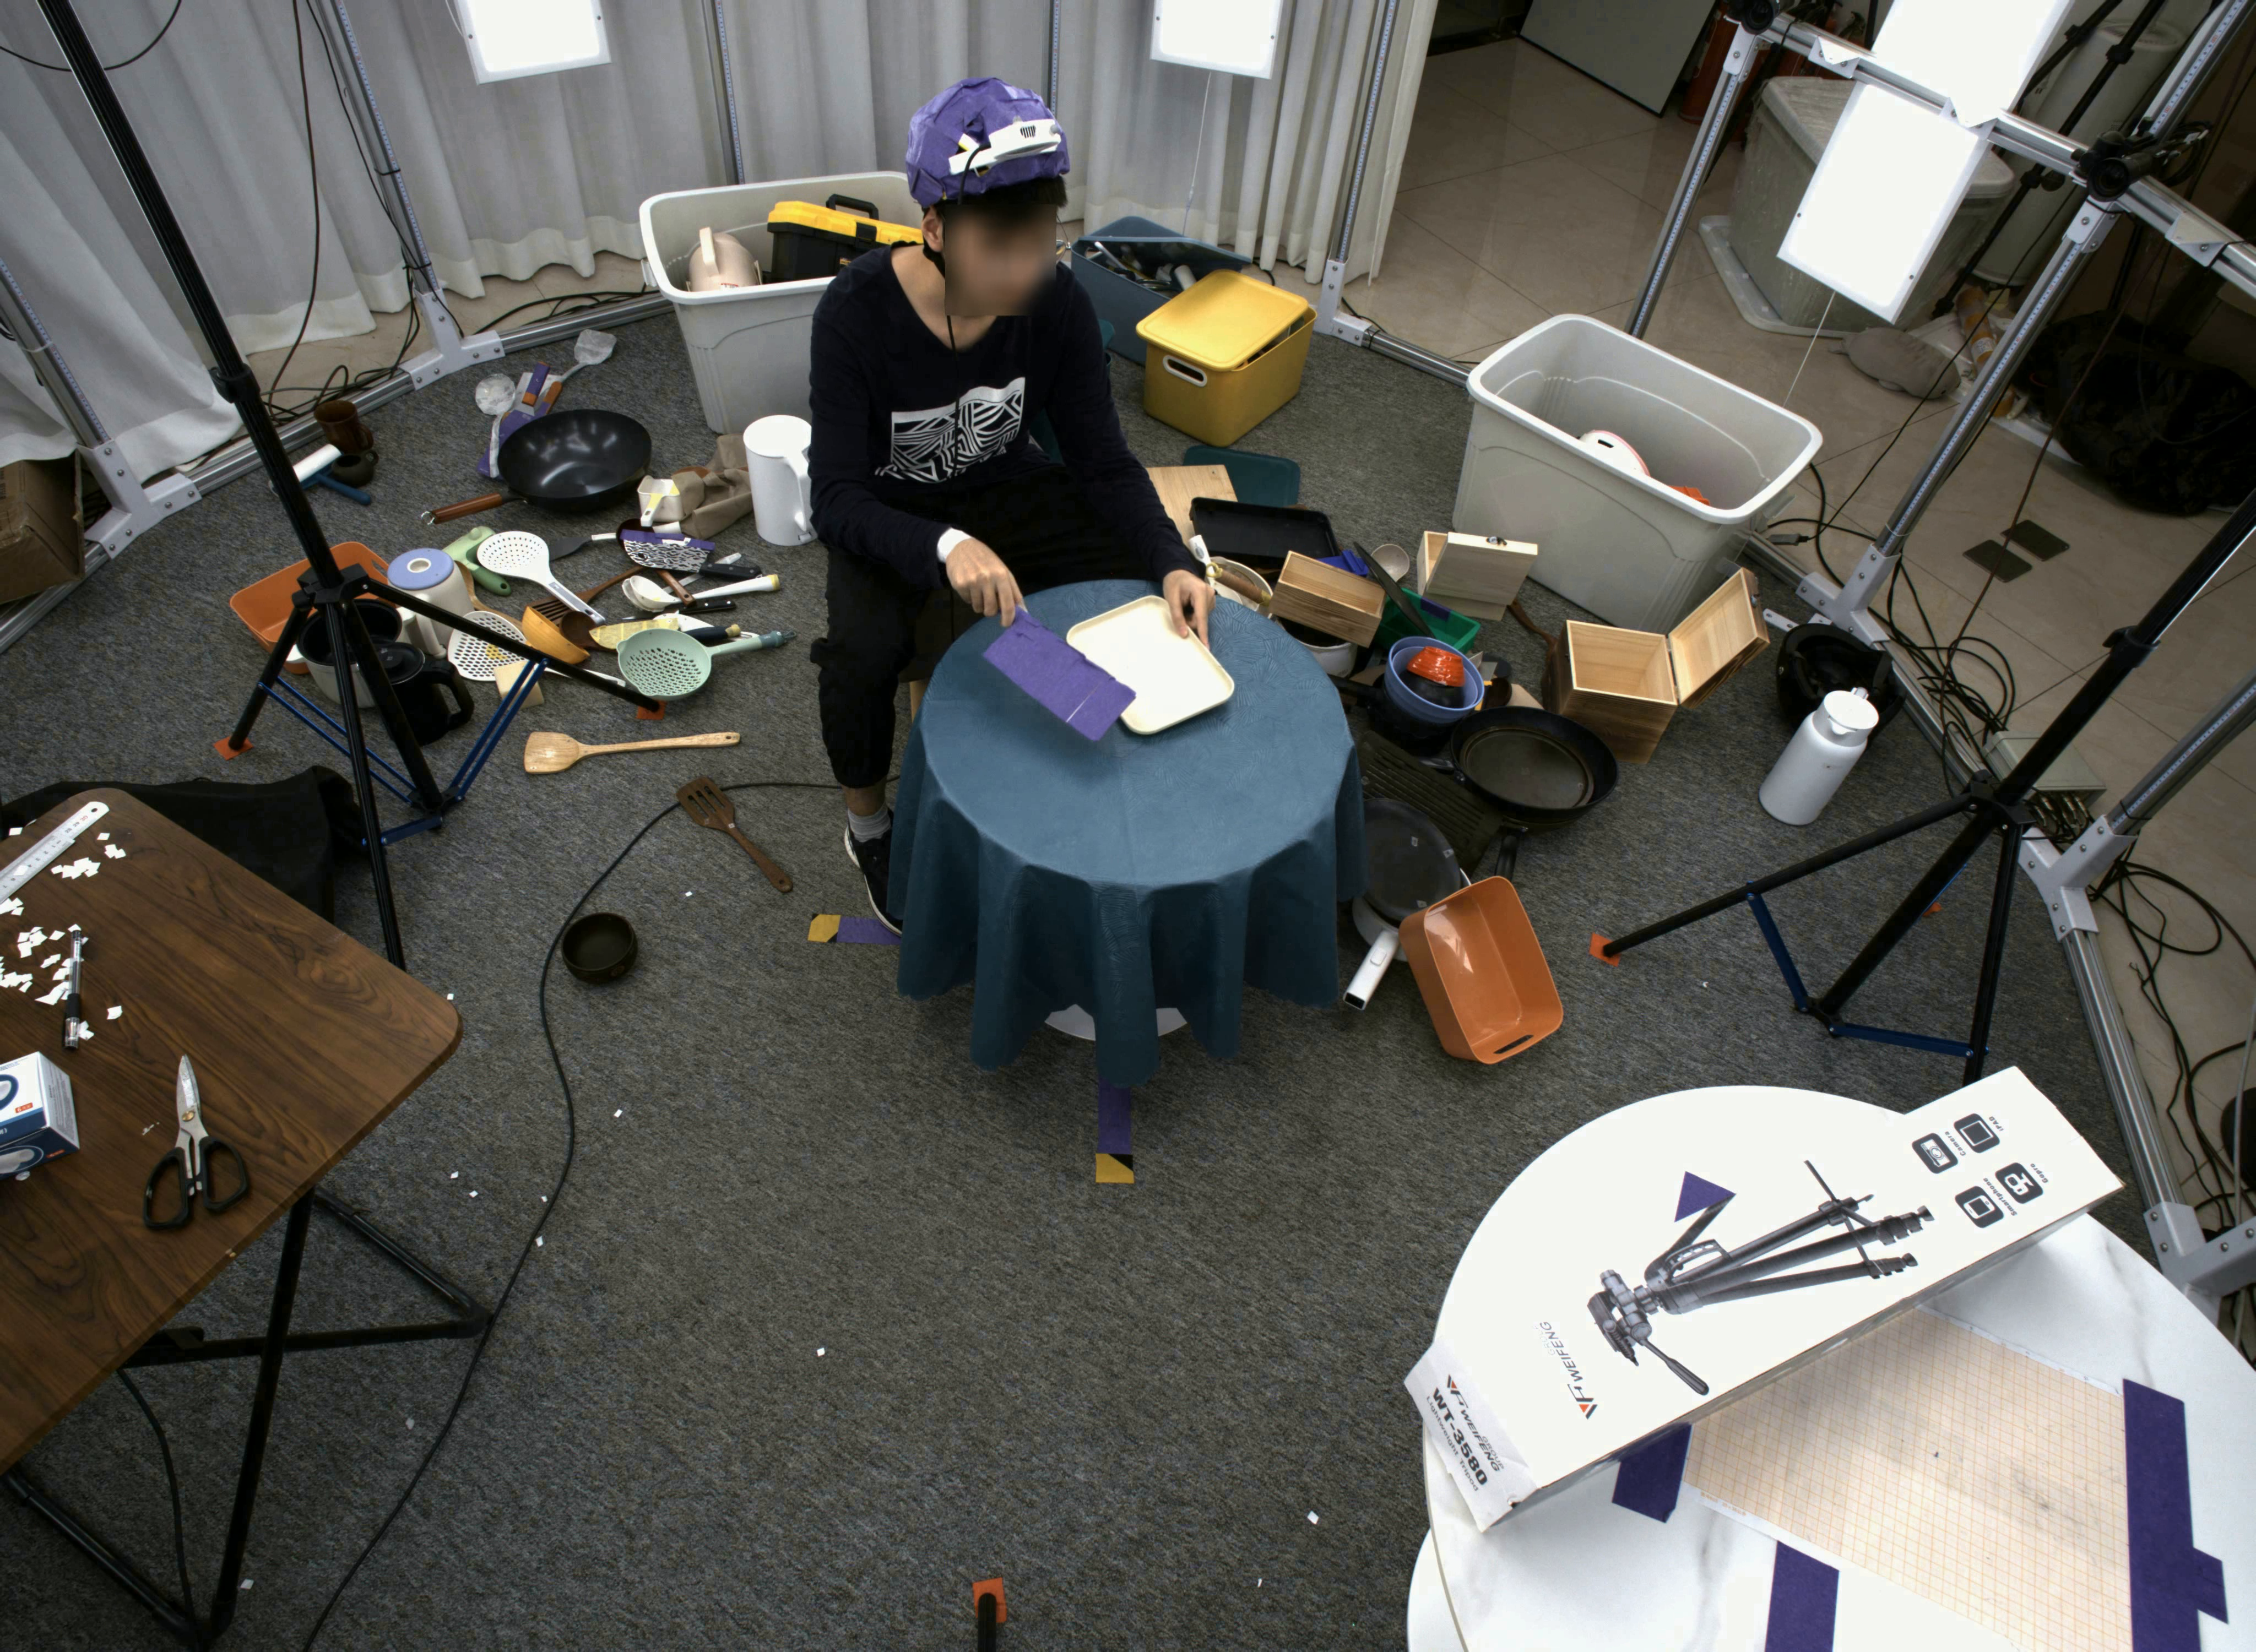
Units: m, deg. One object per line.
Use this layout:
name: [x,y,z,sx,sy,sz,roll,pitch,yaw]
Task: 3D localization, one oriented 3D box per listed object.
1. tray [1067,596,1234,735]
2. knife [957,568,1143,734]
tray: [0.030,-0.233,1.850,0.172,0.017,0.245,-24,54,-14]
knife: [-0.129,-0.239,1.749,0.319,0.031,0.105,37,73,19]
